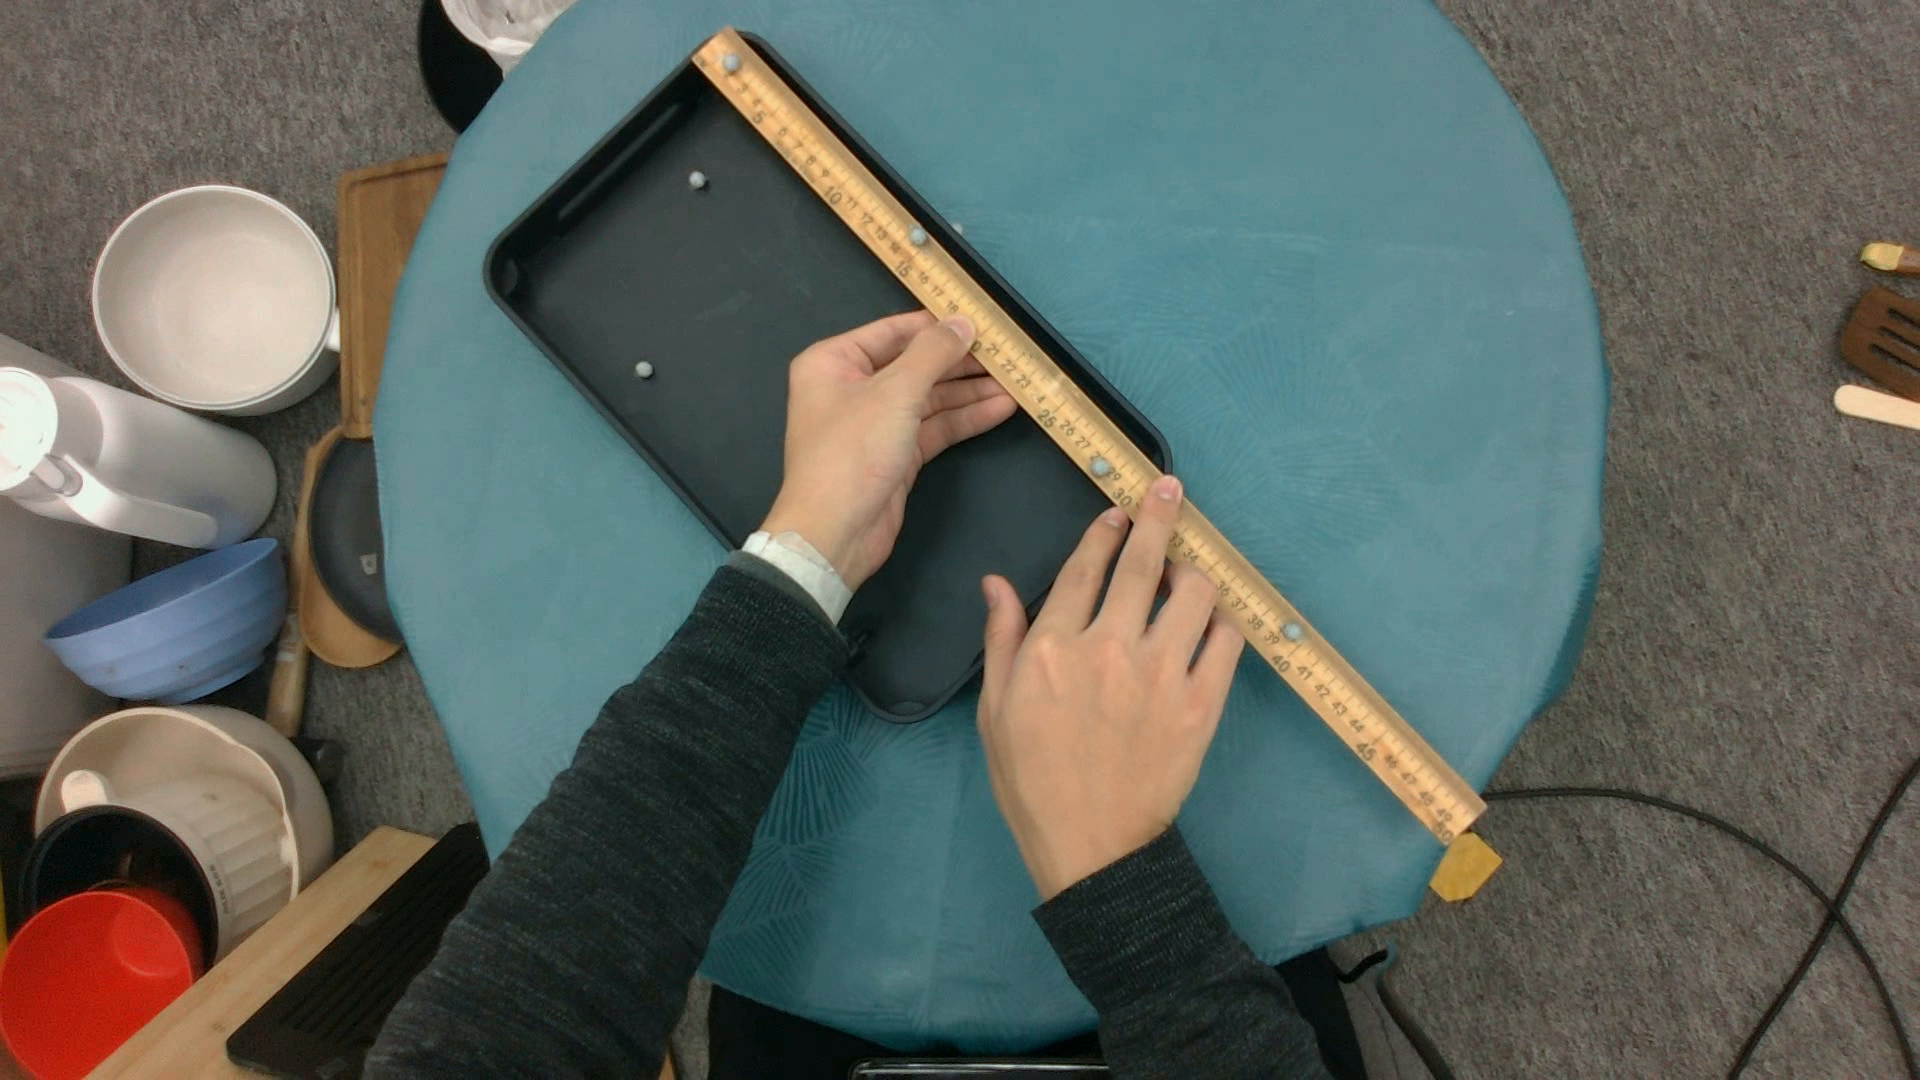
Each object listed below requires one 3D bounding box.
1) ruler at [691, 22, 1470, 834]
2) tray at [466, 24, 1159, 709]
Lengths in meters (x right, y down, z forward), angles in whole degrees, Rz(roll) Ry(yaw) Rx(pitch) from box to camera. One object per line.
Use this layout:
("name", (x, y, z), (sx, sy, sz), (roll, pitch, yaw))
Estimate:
("ruler", (0.041, -0.063, 0.628), (0.027, 0.006, 0.501), (-42, 79, 1))
("tray", (-0.074, -0.087, 0.663), (0.184, 0.037, 0.318), (-45, 80, -2))
